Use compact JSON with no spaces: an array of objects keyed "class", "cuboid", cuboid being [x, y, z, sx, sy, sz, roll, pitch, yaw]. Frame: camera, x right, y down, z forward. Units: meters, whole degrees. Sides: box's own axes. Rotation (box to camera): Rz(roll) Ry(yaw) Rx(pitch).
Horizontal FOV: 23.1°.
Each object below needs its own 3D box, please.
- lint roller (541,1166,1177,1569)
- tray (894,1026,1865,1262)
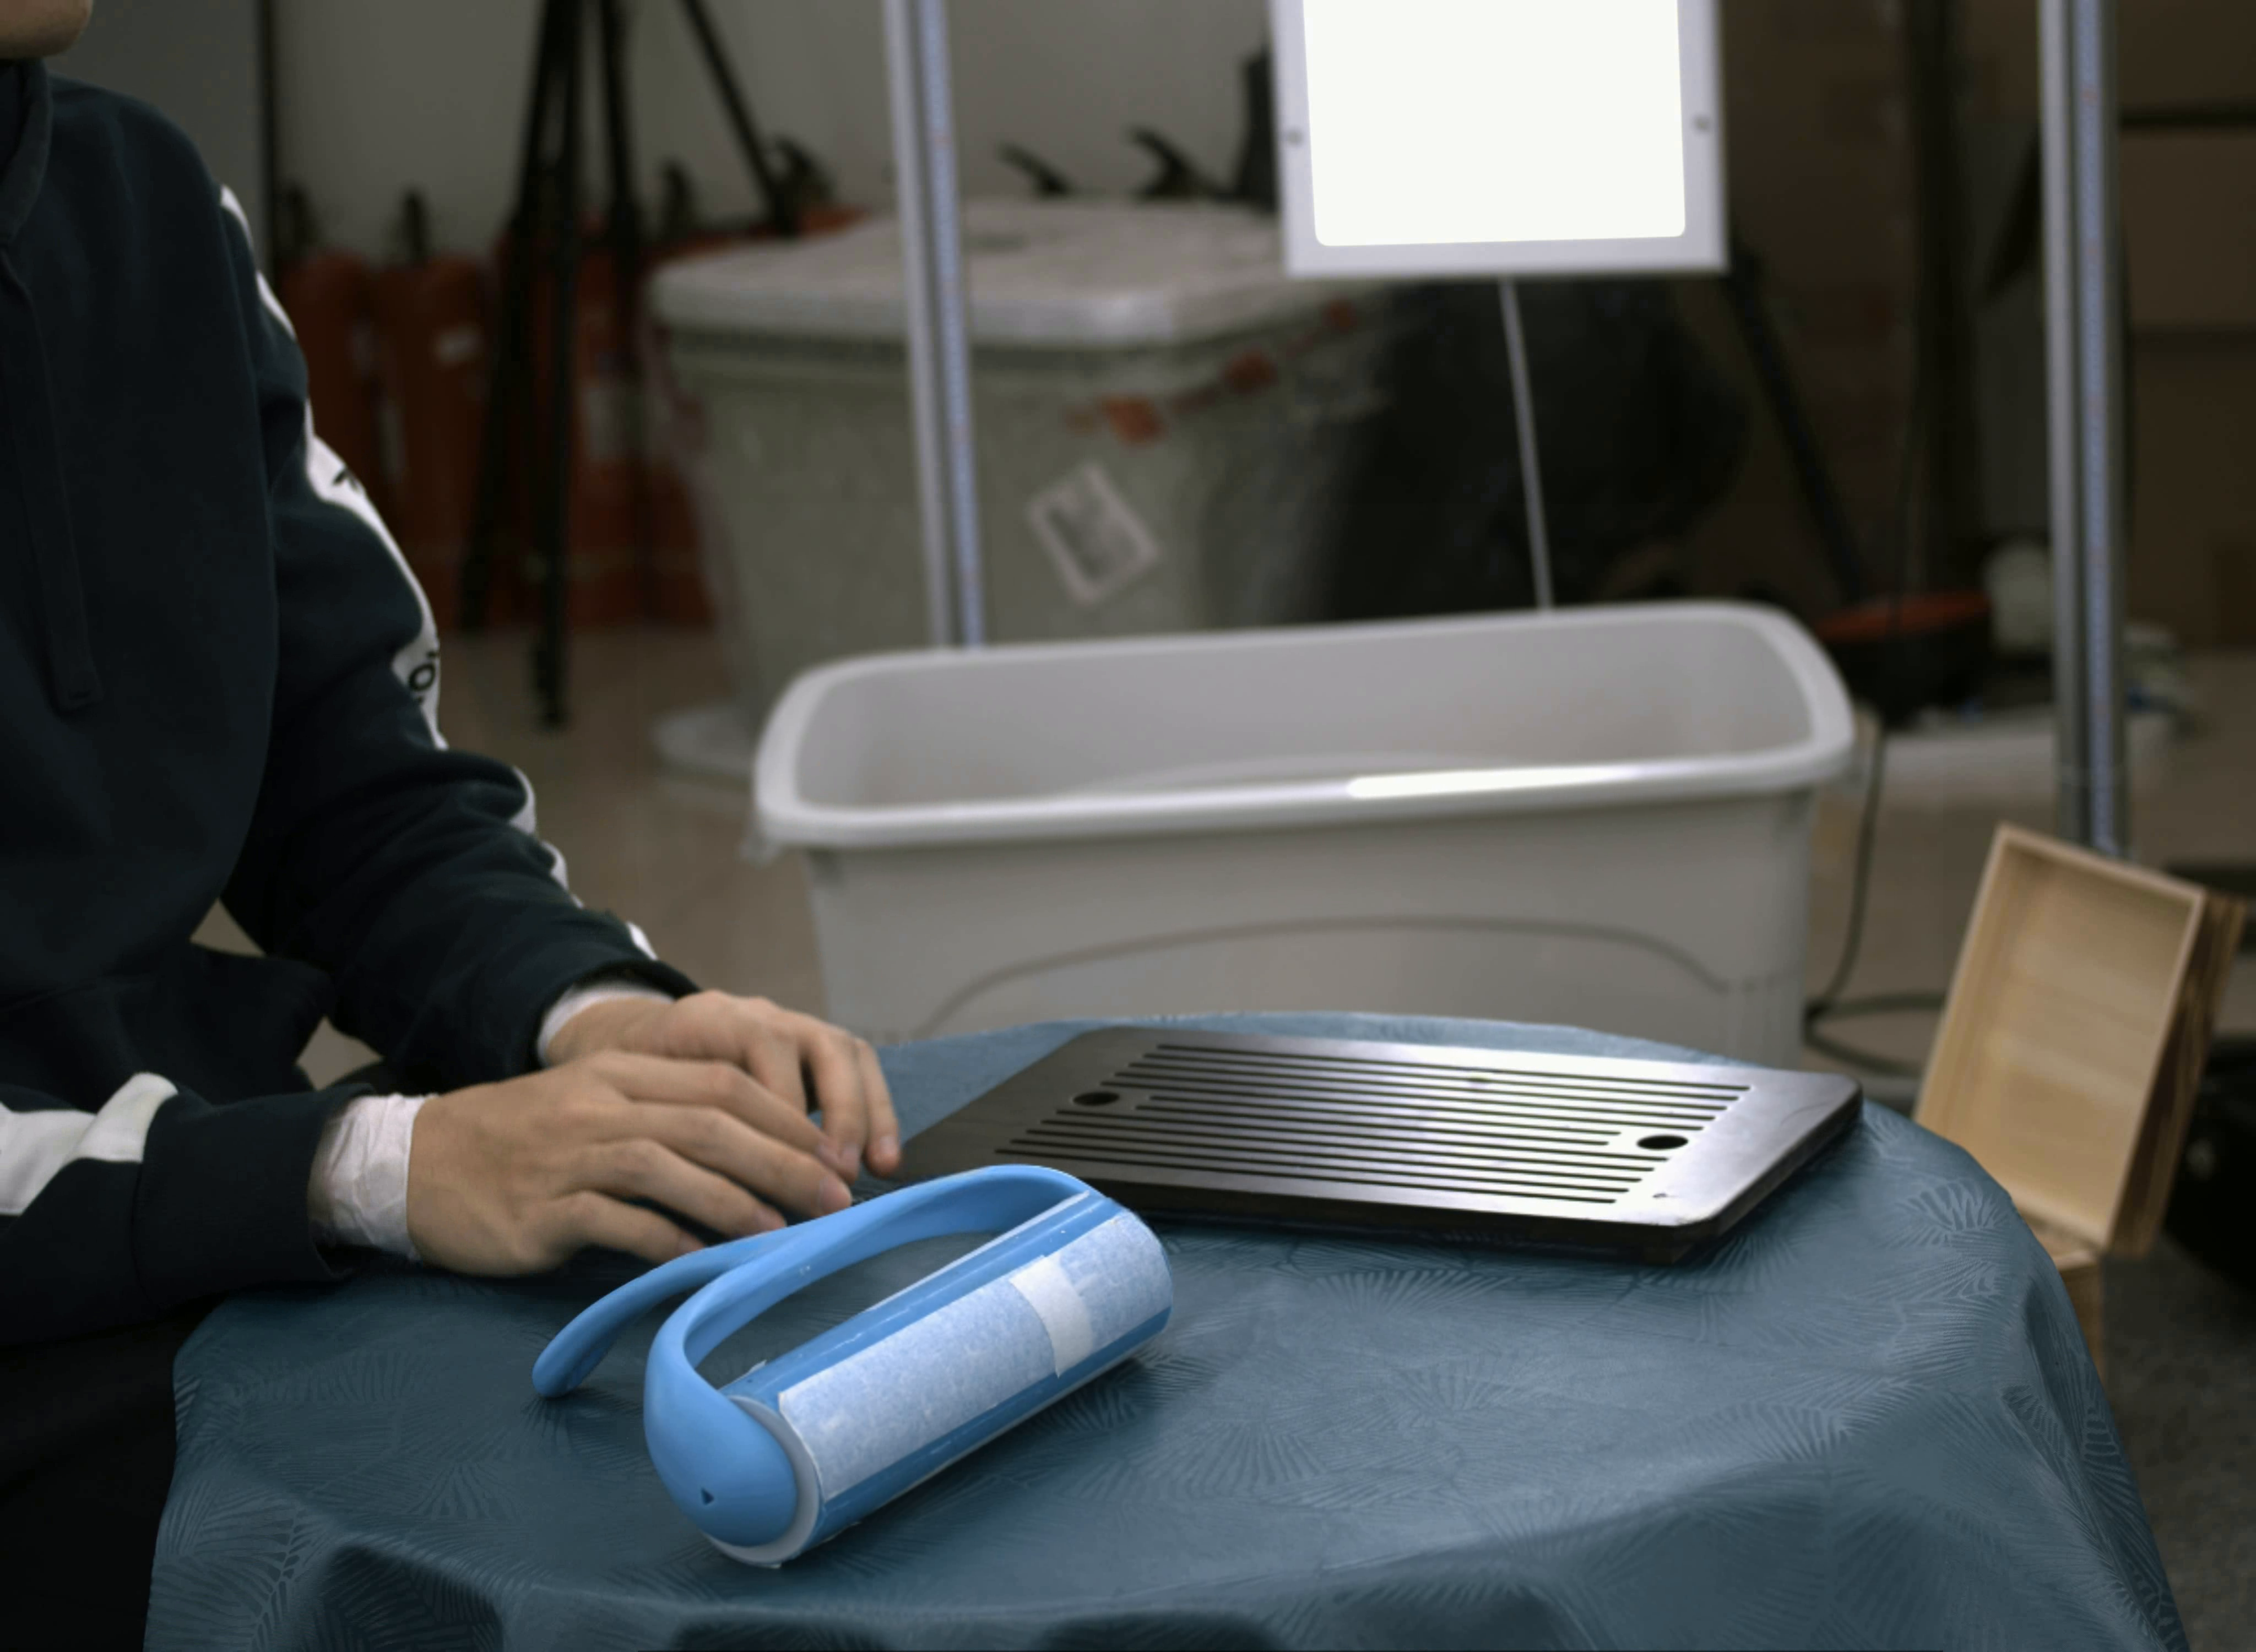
[{"class":"lint roller","cuboid":[-0.108,0.158,1.683,0.183,0.068,0.224,5,19,31]},{"class":"tray","cuboid":[0.088,0.108,1.901,0.311,0.019,0.166,2,16,28]}]
